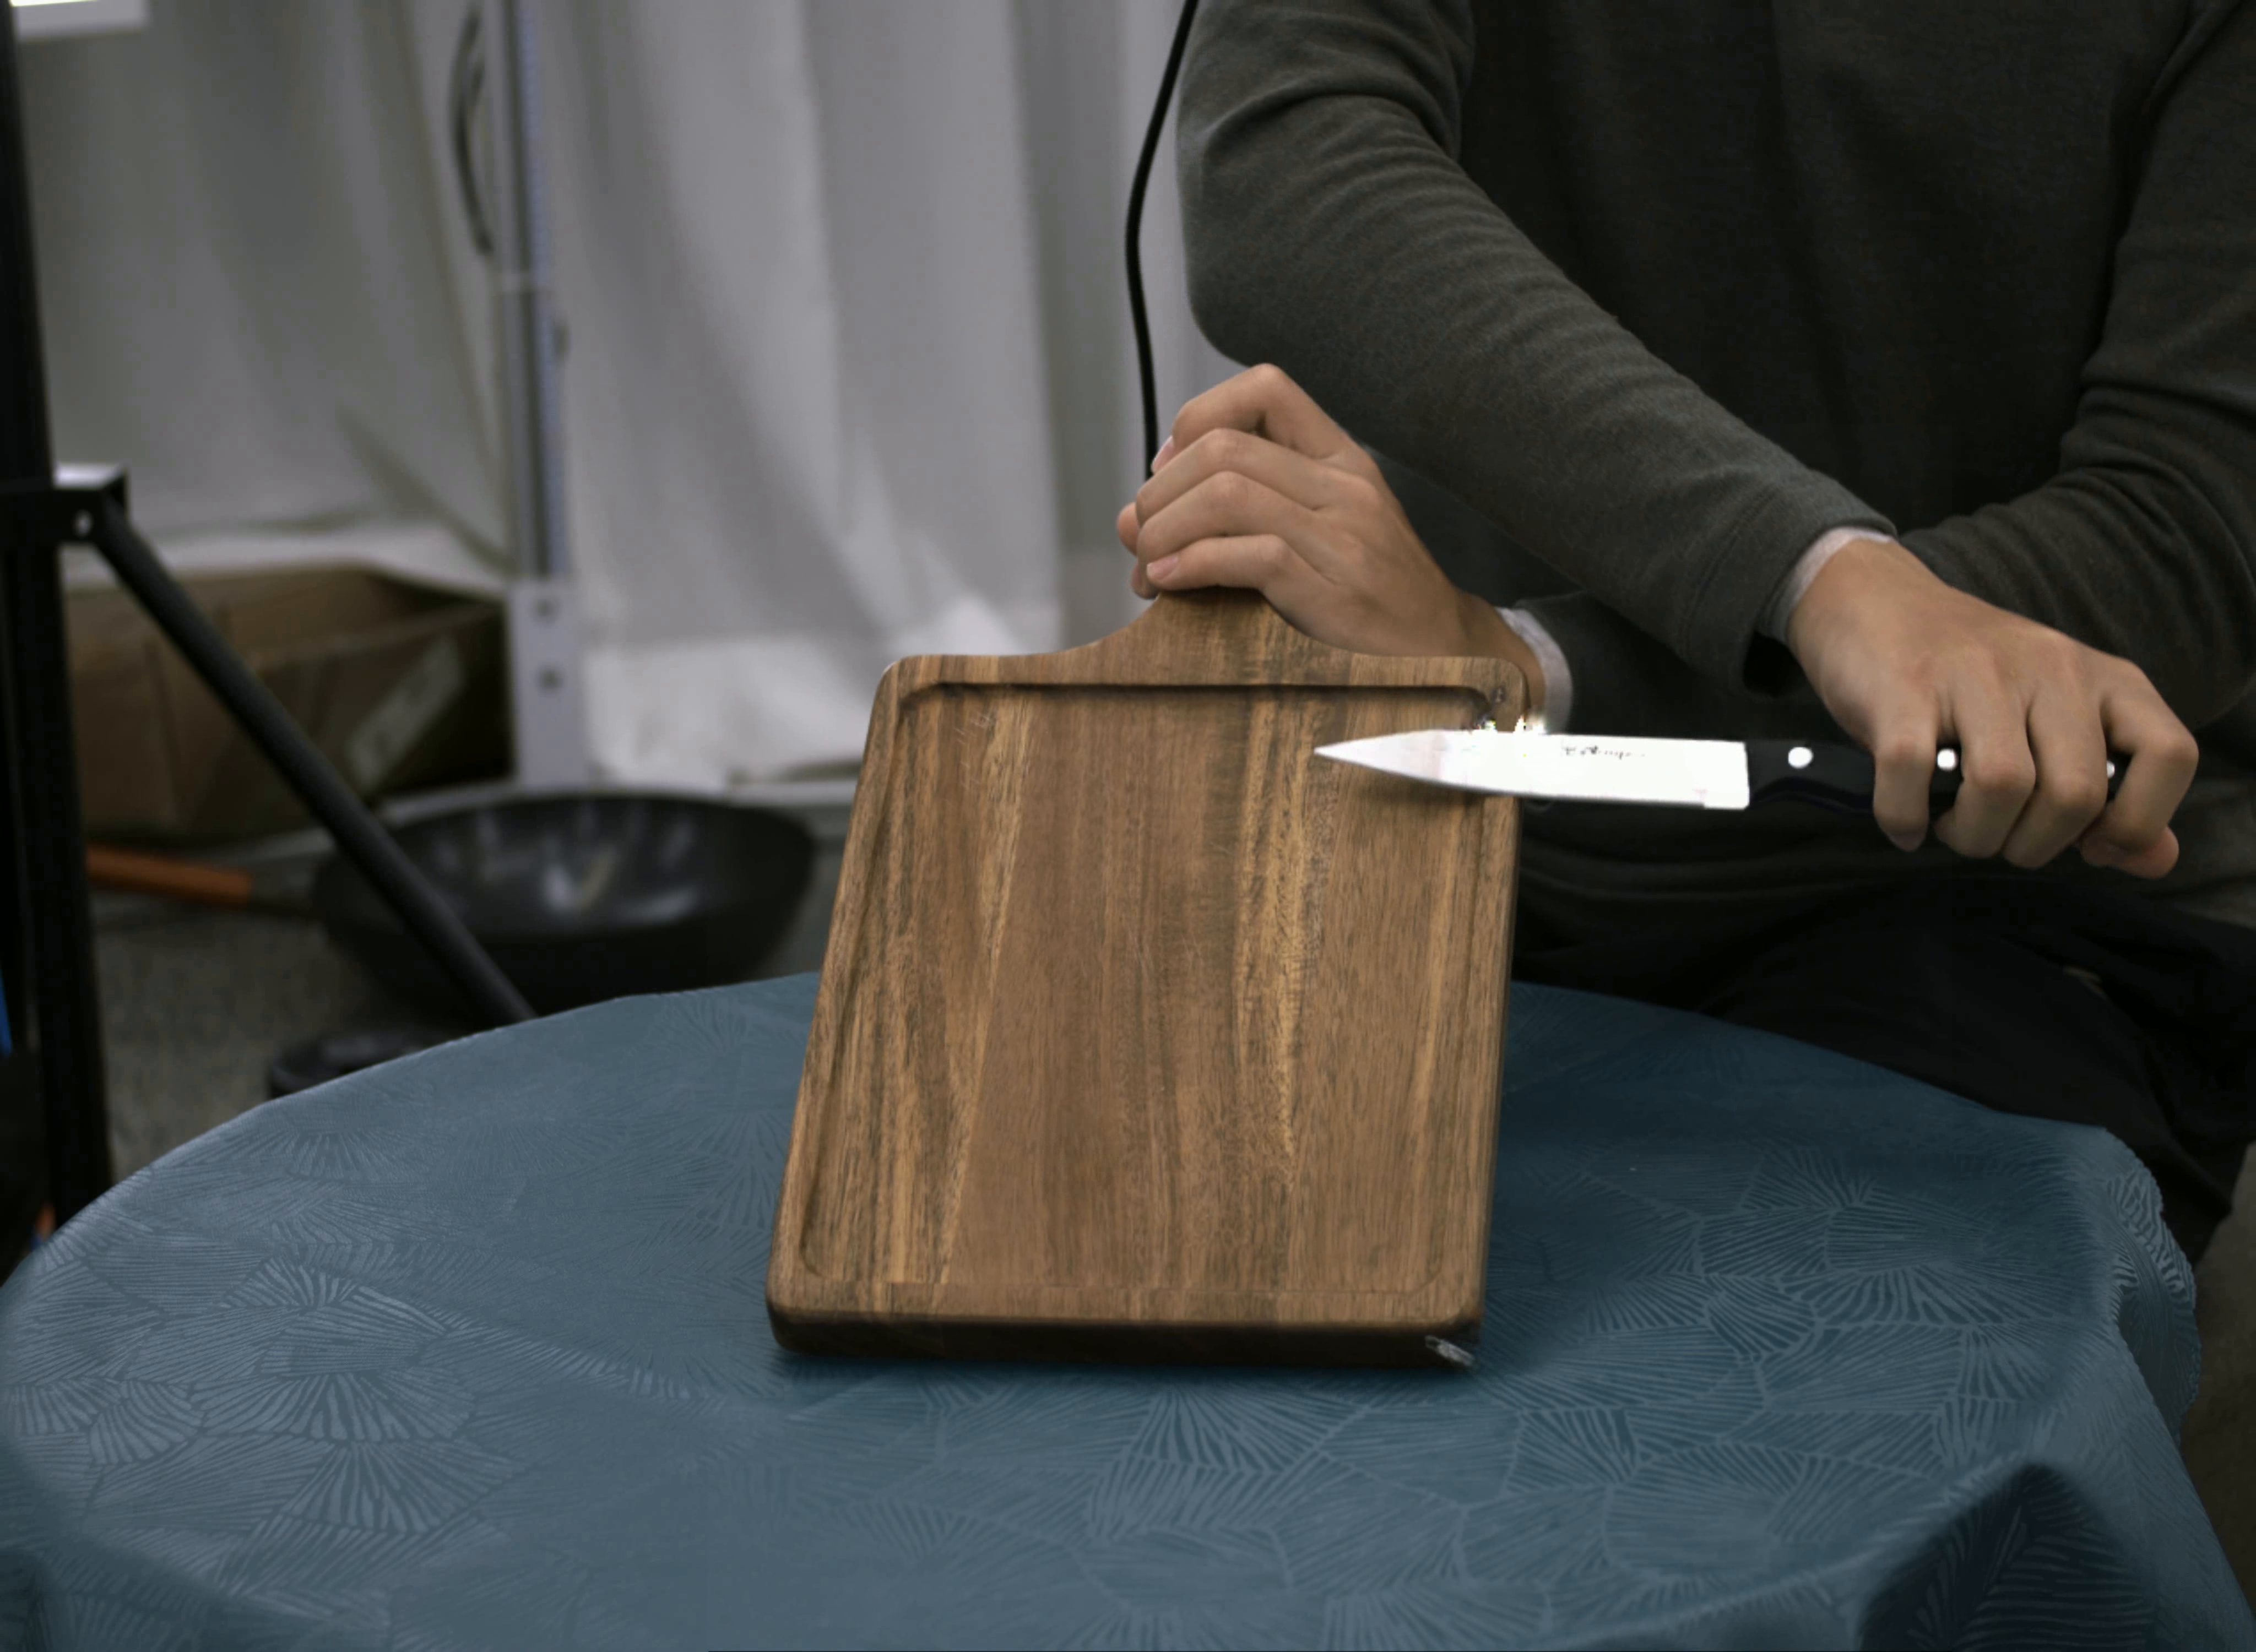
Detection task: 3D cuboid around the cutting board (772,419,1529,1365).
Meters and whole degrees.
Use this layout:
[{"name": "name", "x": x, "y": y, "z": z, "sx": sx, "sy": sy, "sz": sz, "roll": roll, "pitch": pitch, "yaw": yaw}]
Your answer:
[{"name": "cutting board", "x": 0.016, "y": 0.010, "z": 1.541, "sx": 0.202, "sy": 0.023, "sz": 0.354, "roll": -1, "pitch": 47, "yaw": 10}]

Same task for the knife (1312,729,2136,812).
[{"name": "knife", "x": 0.172, "y": -0.017, "z": 1.528, "sx": 0.238, "sy": 0.016, "sz": 0.024, "roll": 2, "pitch": 54, "yaw": 6}]
